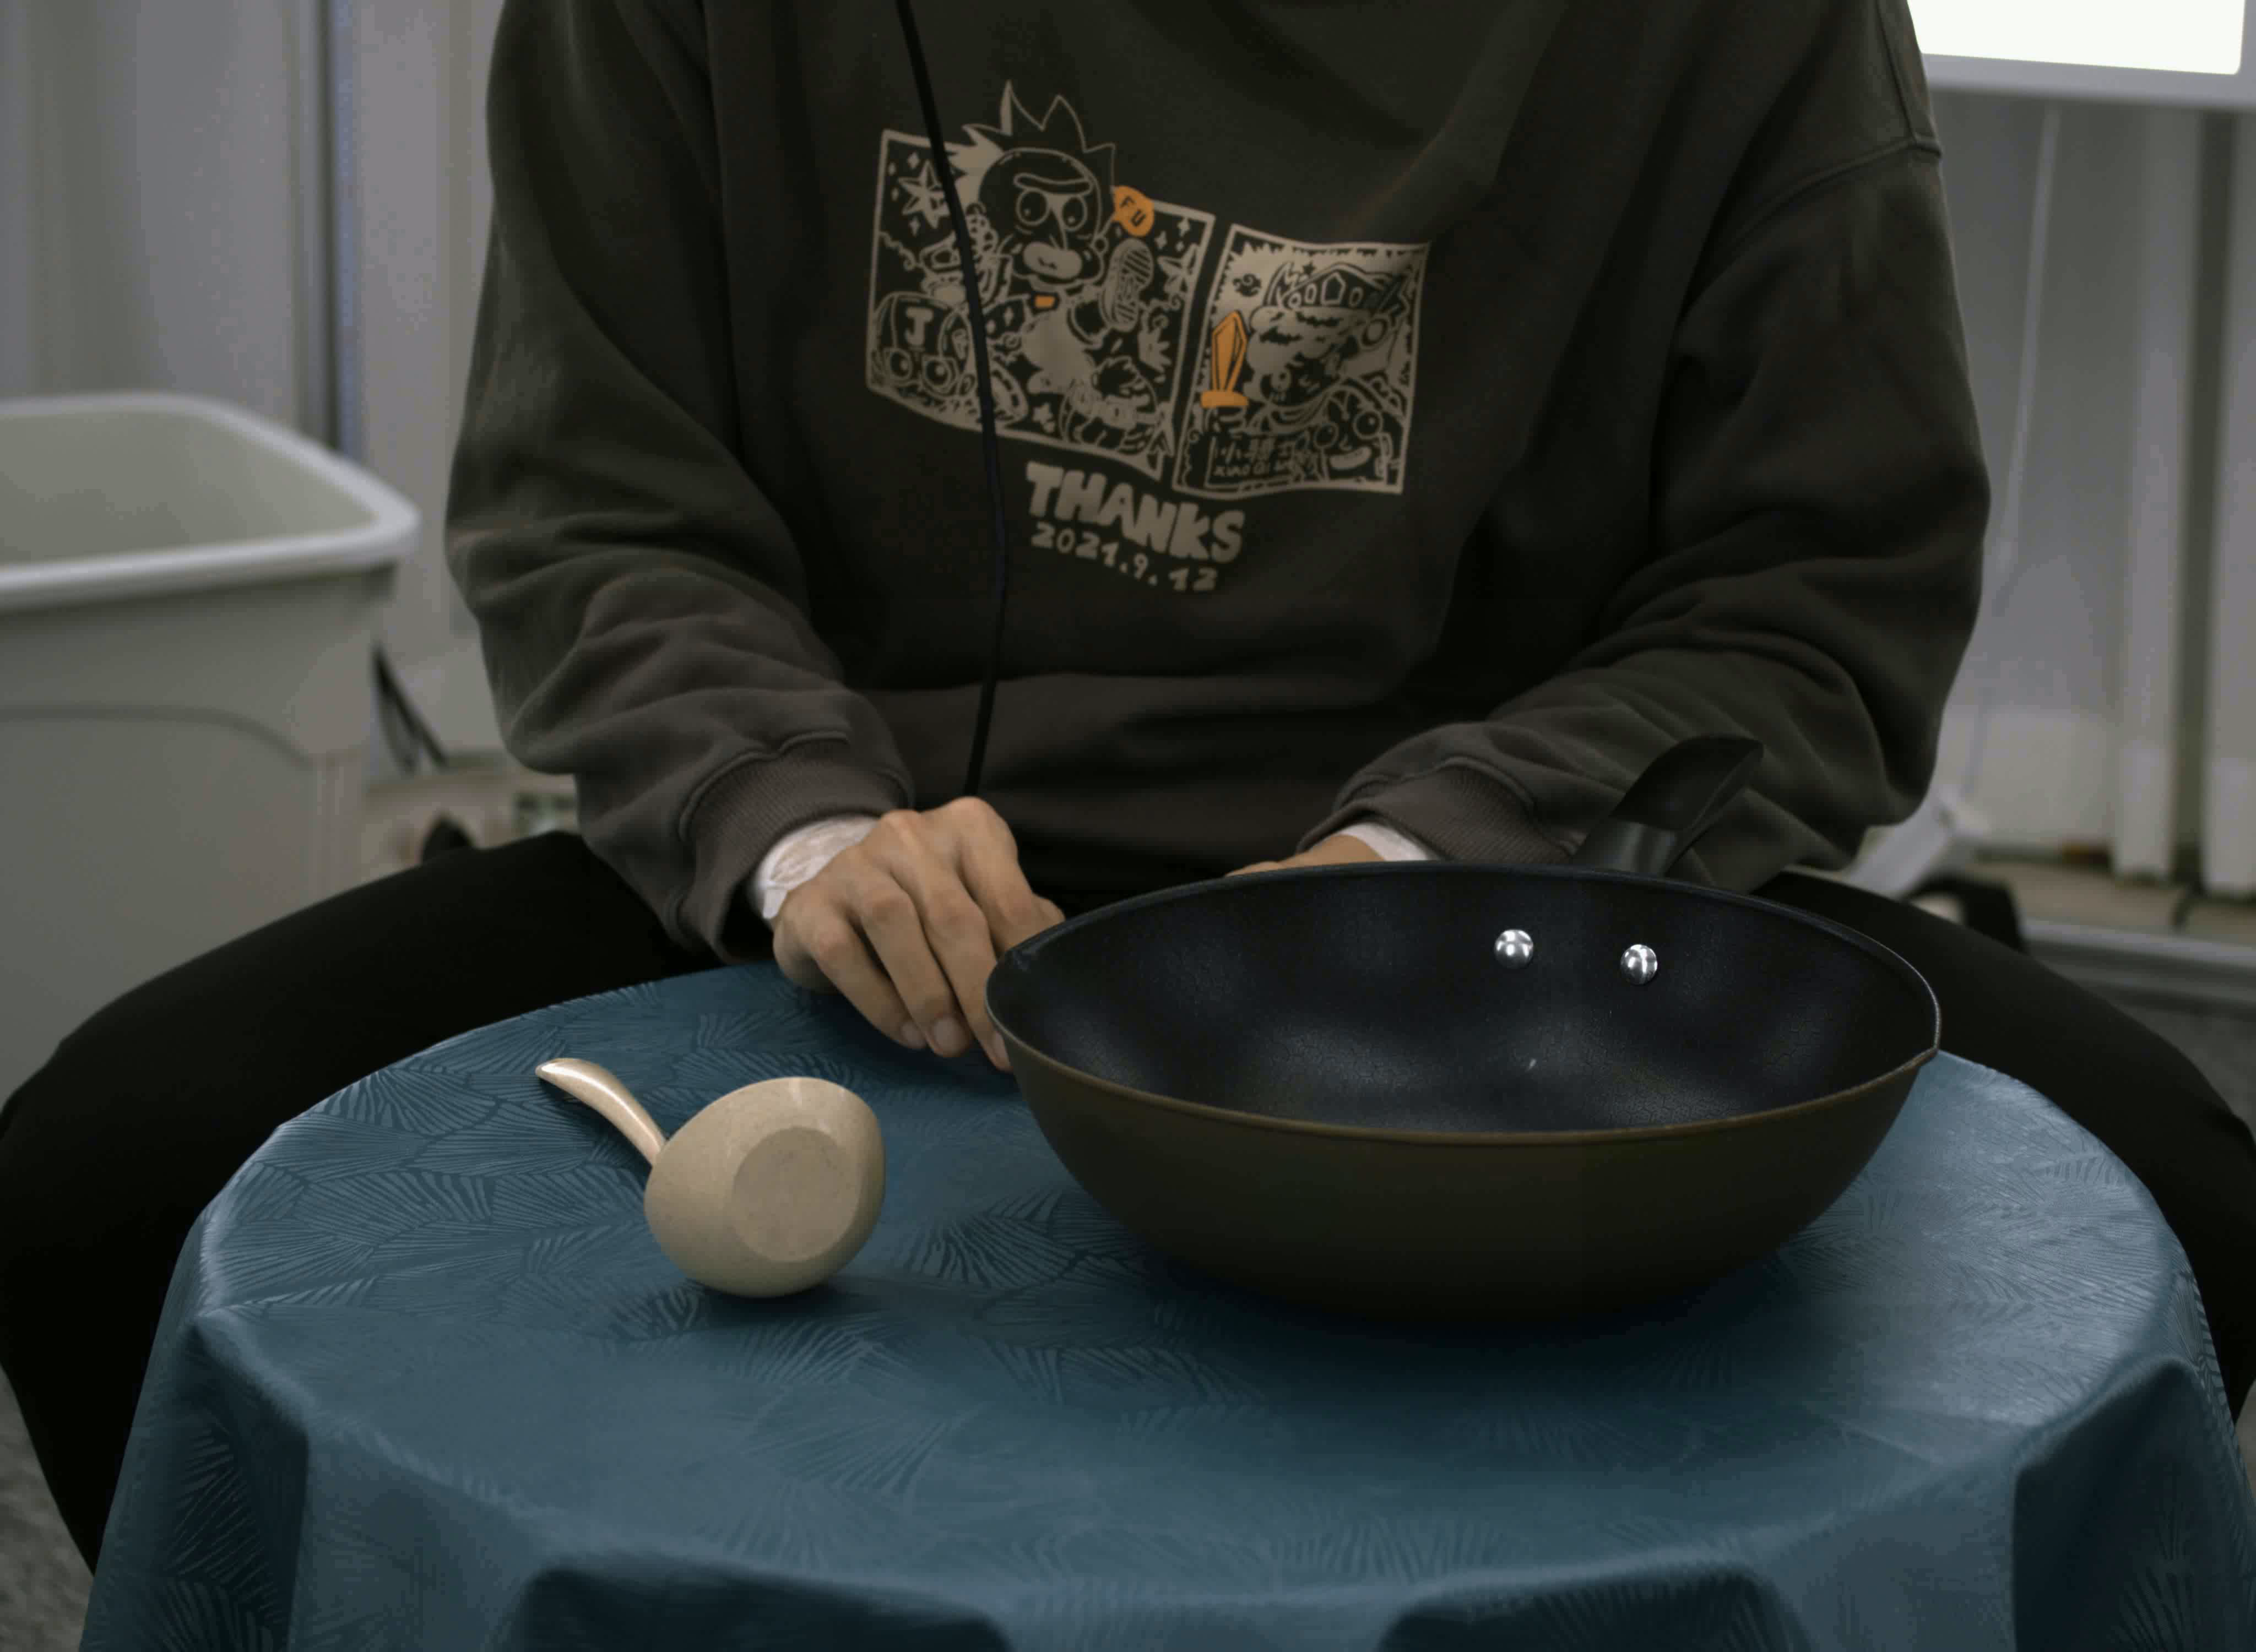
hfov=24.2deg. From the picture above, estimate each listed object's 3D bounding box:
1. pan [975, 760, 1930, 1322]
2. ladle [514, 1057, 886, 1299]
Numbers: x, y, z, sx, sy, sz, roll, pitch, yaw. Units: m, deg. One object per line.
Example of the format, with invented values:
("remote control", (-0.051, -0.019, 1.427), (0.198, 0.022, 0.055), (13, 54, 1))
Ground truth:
("pan", (0.128, 0.064, 1.657), (0.285, 0.087, 0.464), (6, 15, 20))
("ladle", (-0.146, 0.078, 1.614), (0.072, 0.073, 0.251), (-12, 20, -22))
